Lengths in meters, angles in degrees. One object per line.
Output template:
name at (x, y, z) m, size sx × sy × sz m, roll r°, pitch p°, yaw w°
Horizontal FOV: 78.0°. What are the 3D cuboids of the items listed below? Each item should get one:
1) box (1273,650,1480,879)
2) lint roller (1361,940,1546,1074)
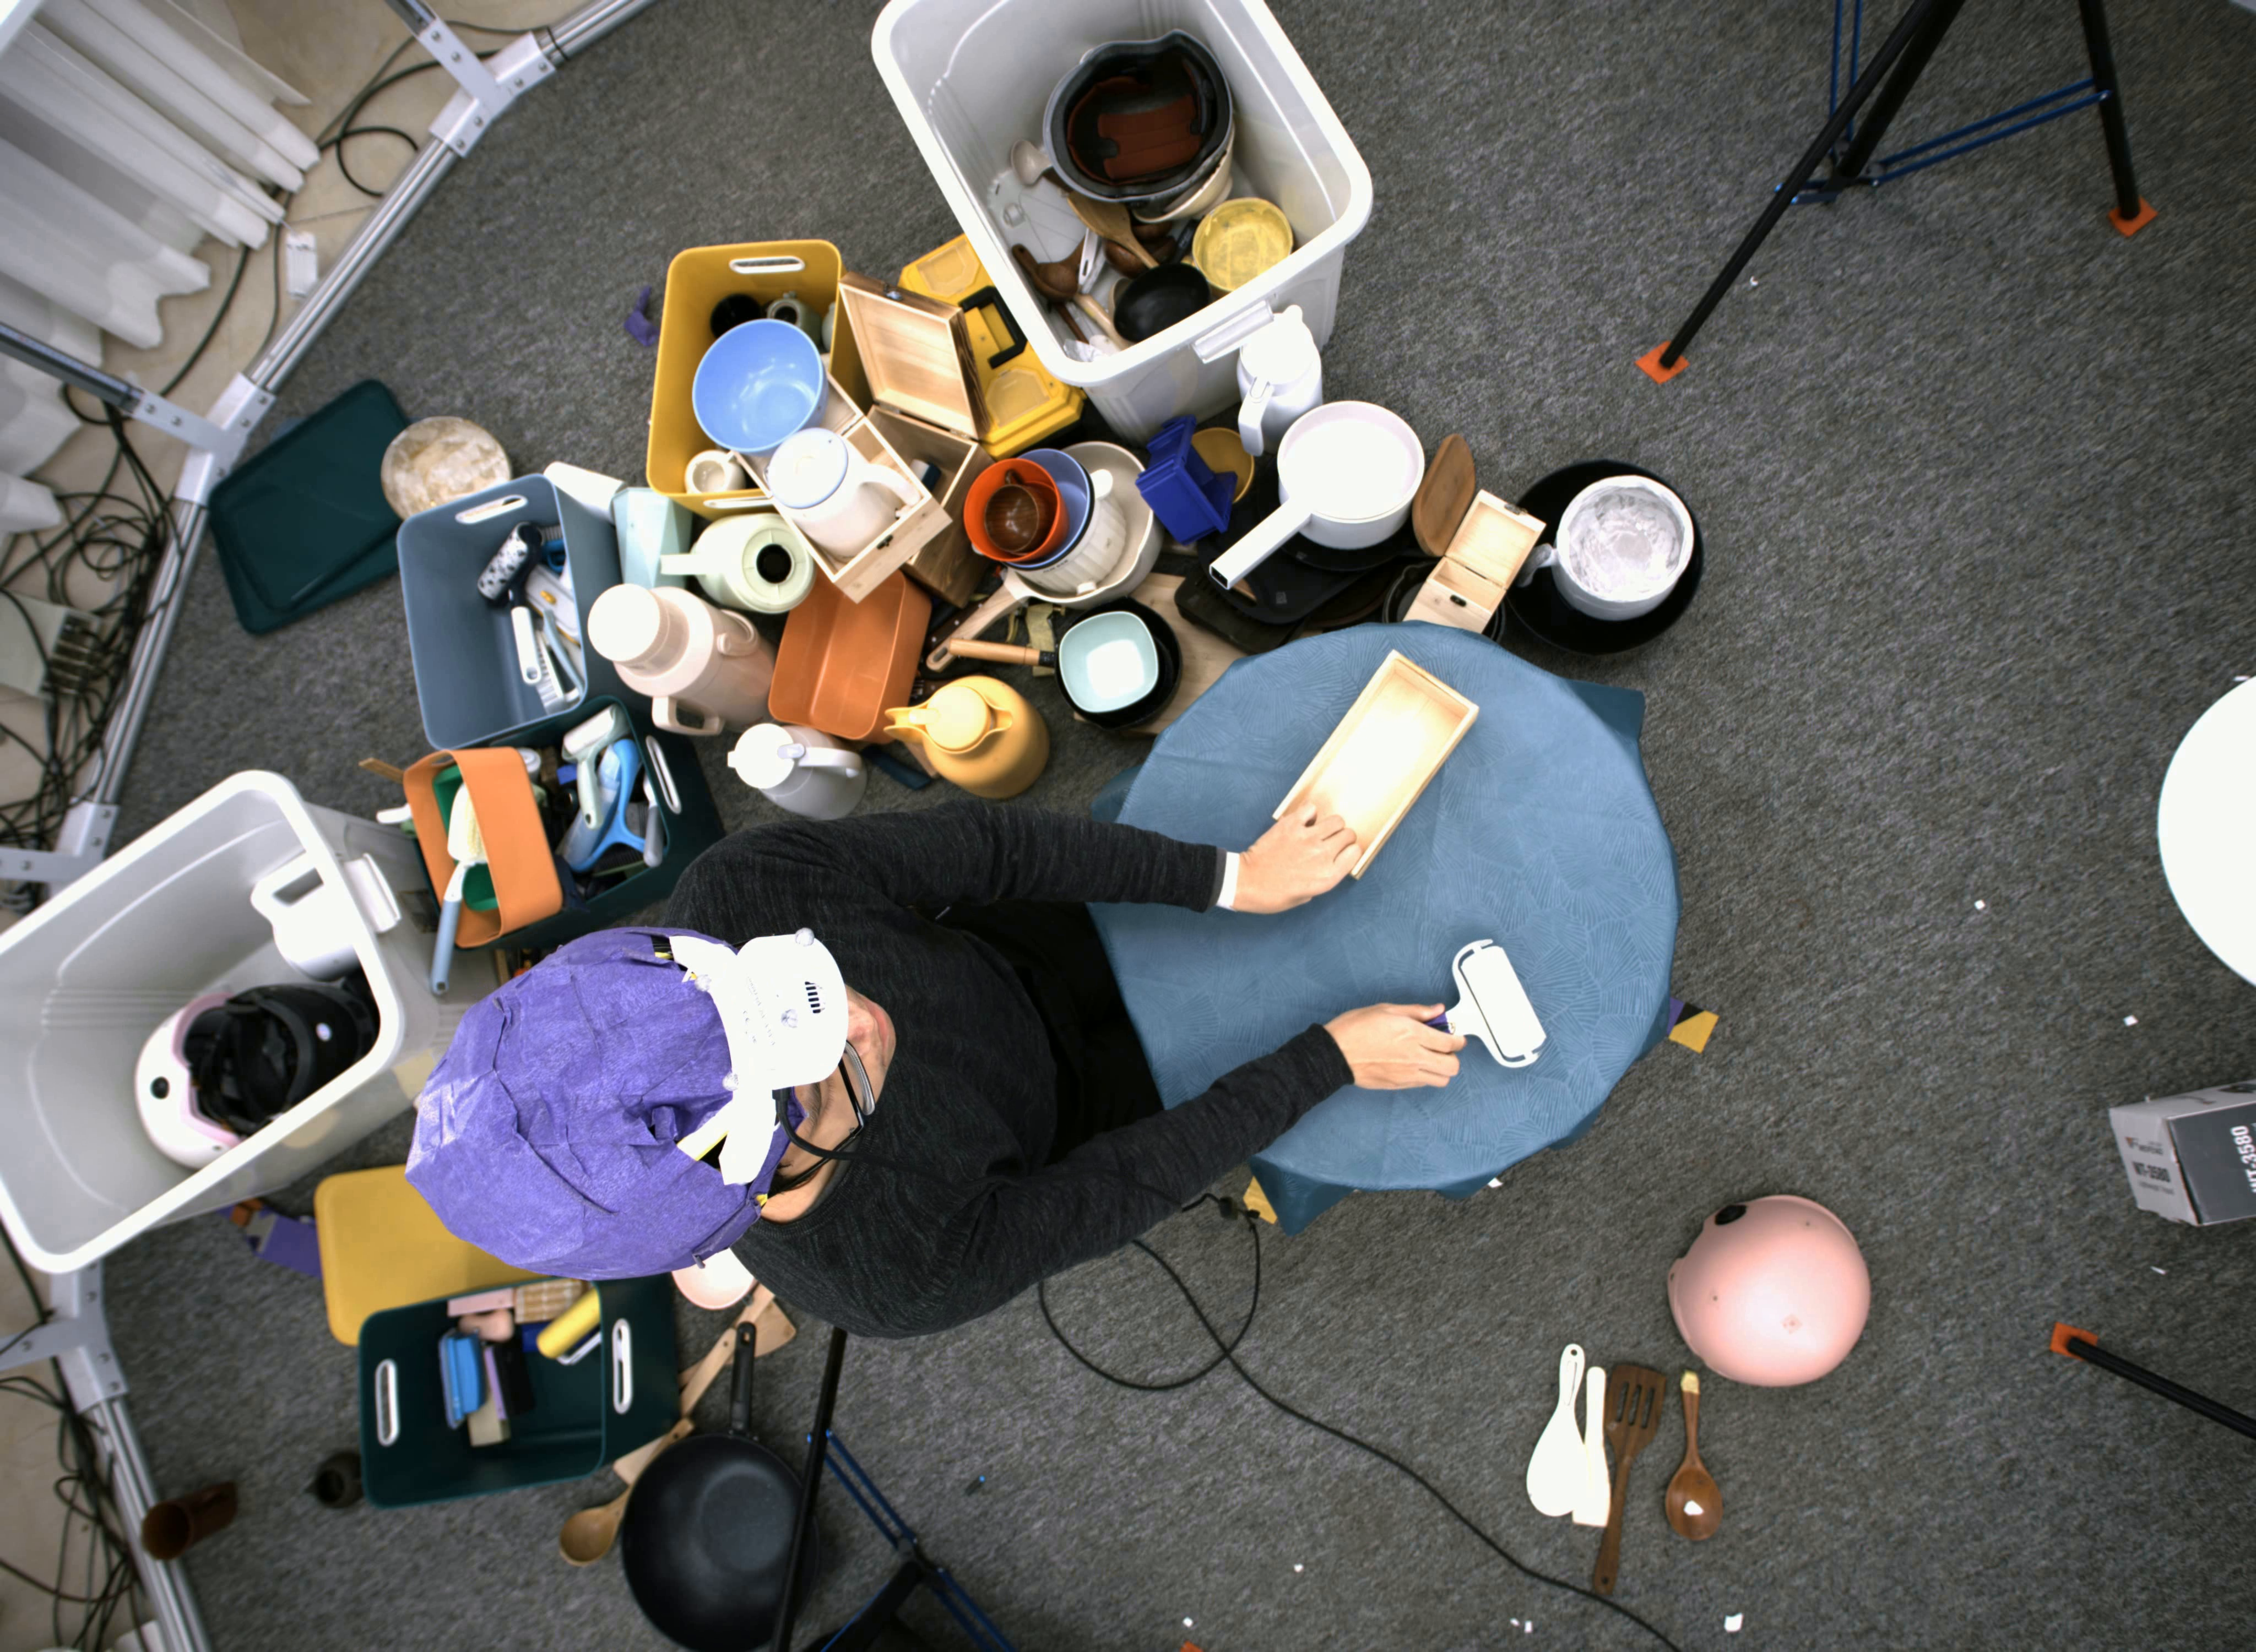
box at (0.257, -0.063, 1.426) m, size 0.107 × 0.080 × 0.212 m, roll 37°, pitch 96°, yaw 11°
lint roller at (0.318, 0.202, 1.395) m, size 0.181 × 0.050 × 0.132 m, roll -23°, pitch 83°, yaw 1°
